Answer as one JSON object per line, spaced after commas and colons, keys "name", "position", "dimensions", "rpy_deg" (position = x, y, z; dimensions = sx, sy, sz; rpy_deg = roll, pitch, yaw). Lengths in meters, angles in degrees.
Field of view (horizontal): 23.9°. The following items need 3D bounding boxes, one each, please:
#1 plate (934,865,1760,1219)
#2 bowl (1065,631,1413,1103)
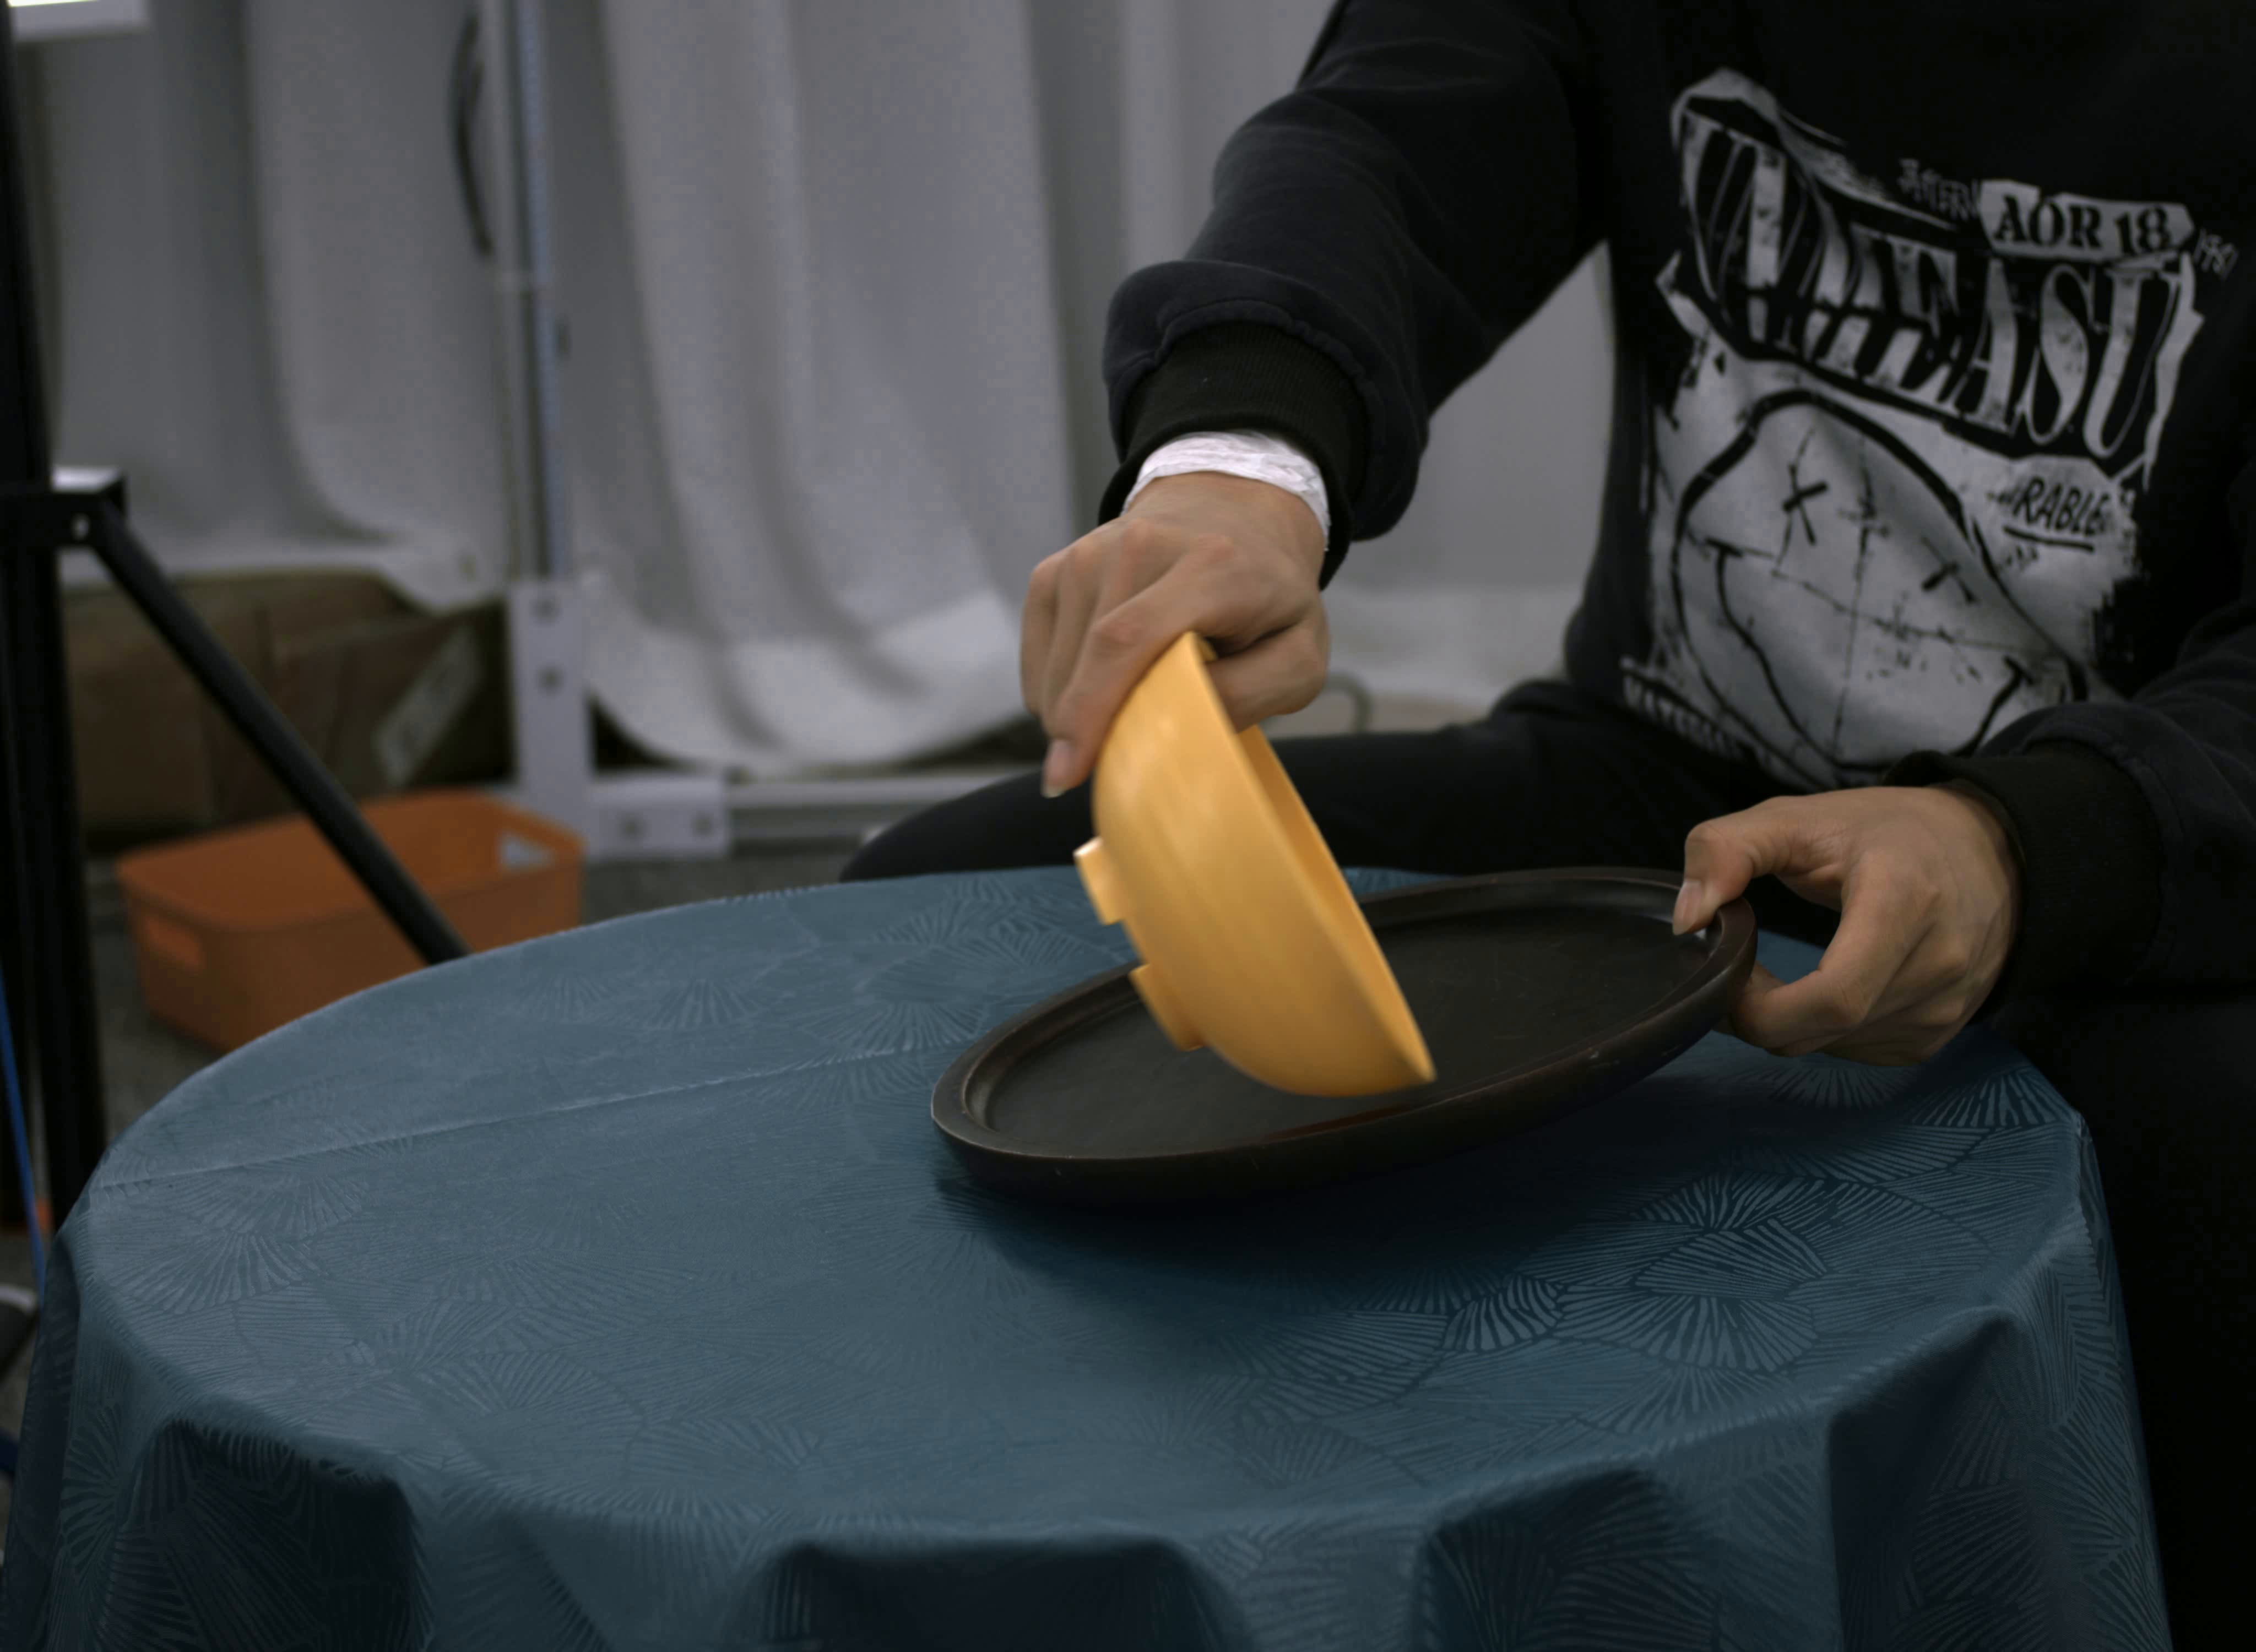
{"name": "plate", "position": [0.066, 0.063, 1.584], "dimensions": [0.254, 0.029, 0.256], "rpy_deg": [-15, 12, 1]}
{"name": "bowl", "position": [0.023, 0.023, 1.490], "dimensions": [0.060, 0.144, 0.146], "rpy_deg": [-28, 16, 3]}
